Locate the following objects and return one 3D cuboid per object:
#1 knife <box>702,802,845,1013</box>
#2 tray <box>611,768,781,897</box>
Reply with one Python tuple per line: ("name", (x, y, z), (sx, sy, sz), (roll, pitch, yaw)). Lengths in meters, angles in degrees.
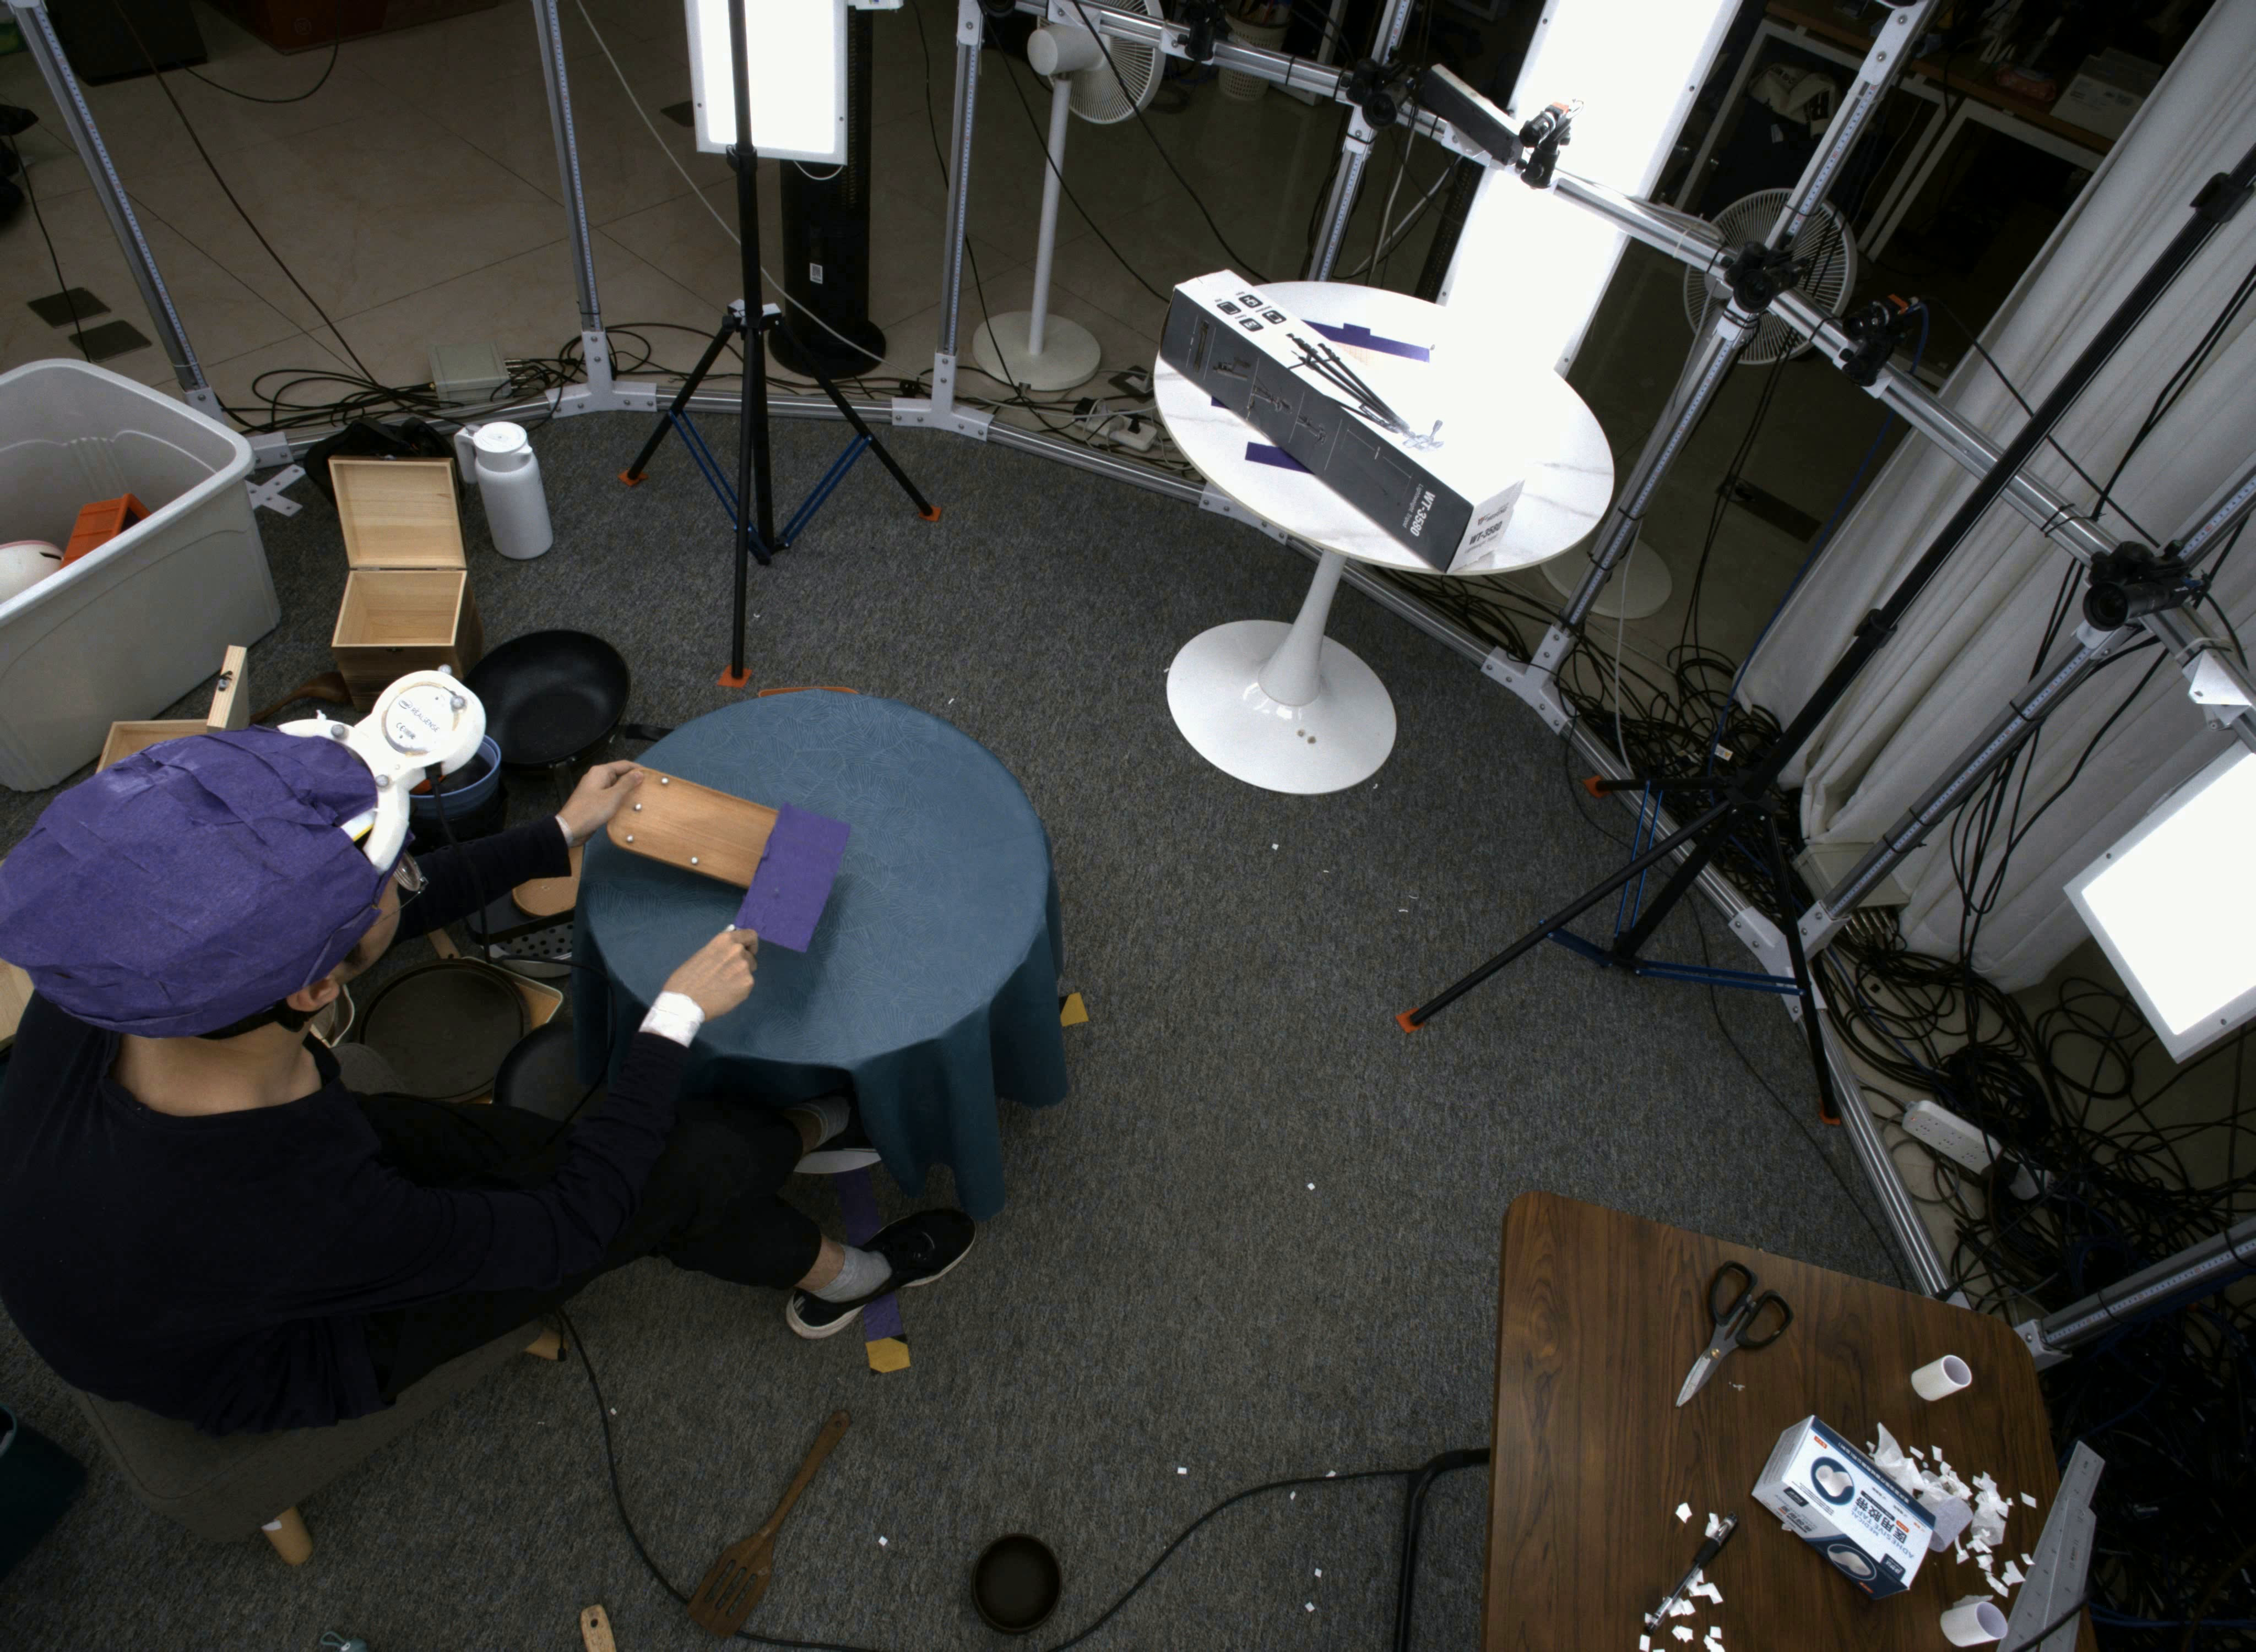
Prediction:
("knife", (-0.414, 0.094, 1.547), (0.104, 0.032, 0.310), (20, 48, -11))
("tray", (-0.526, 0.013, 1.644), (0.254, 0.023, 0.128), (23, 51, -20))
